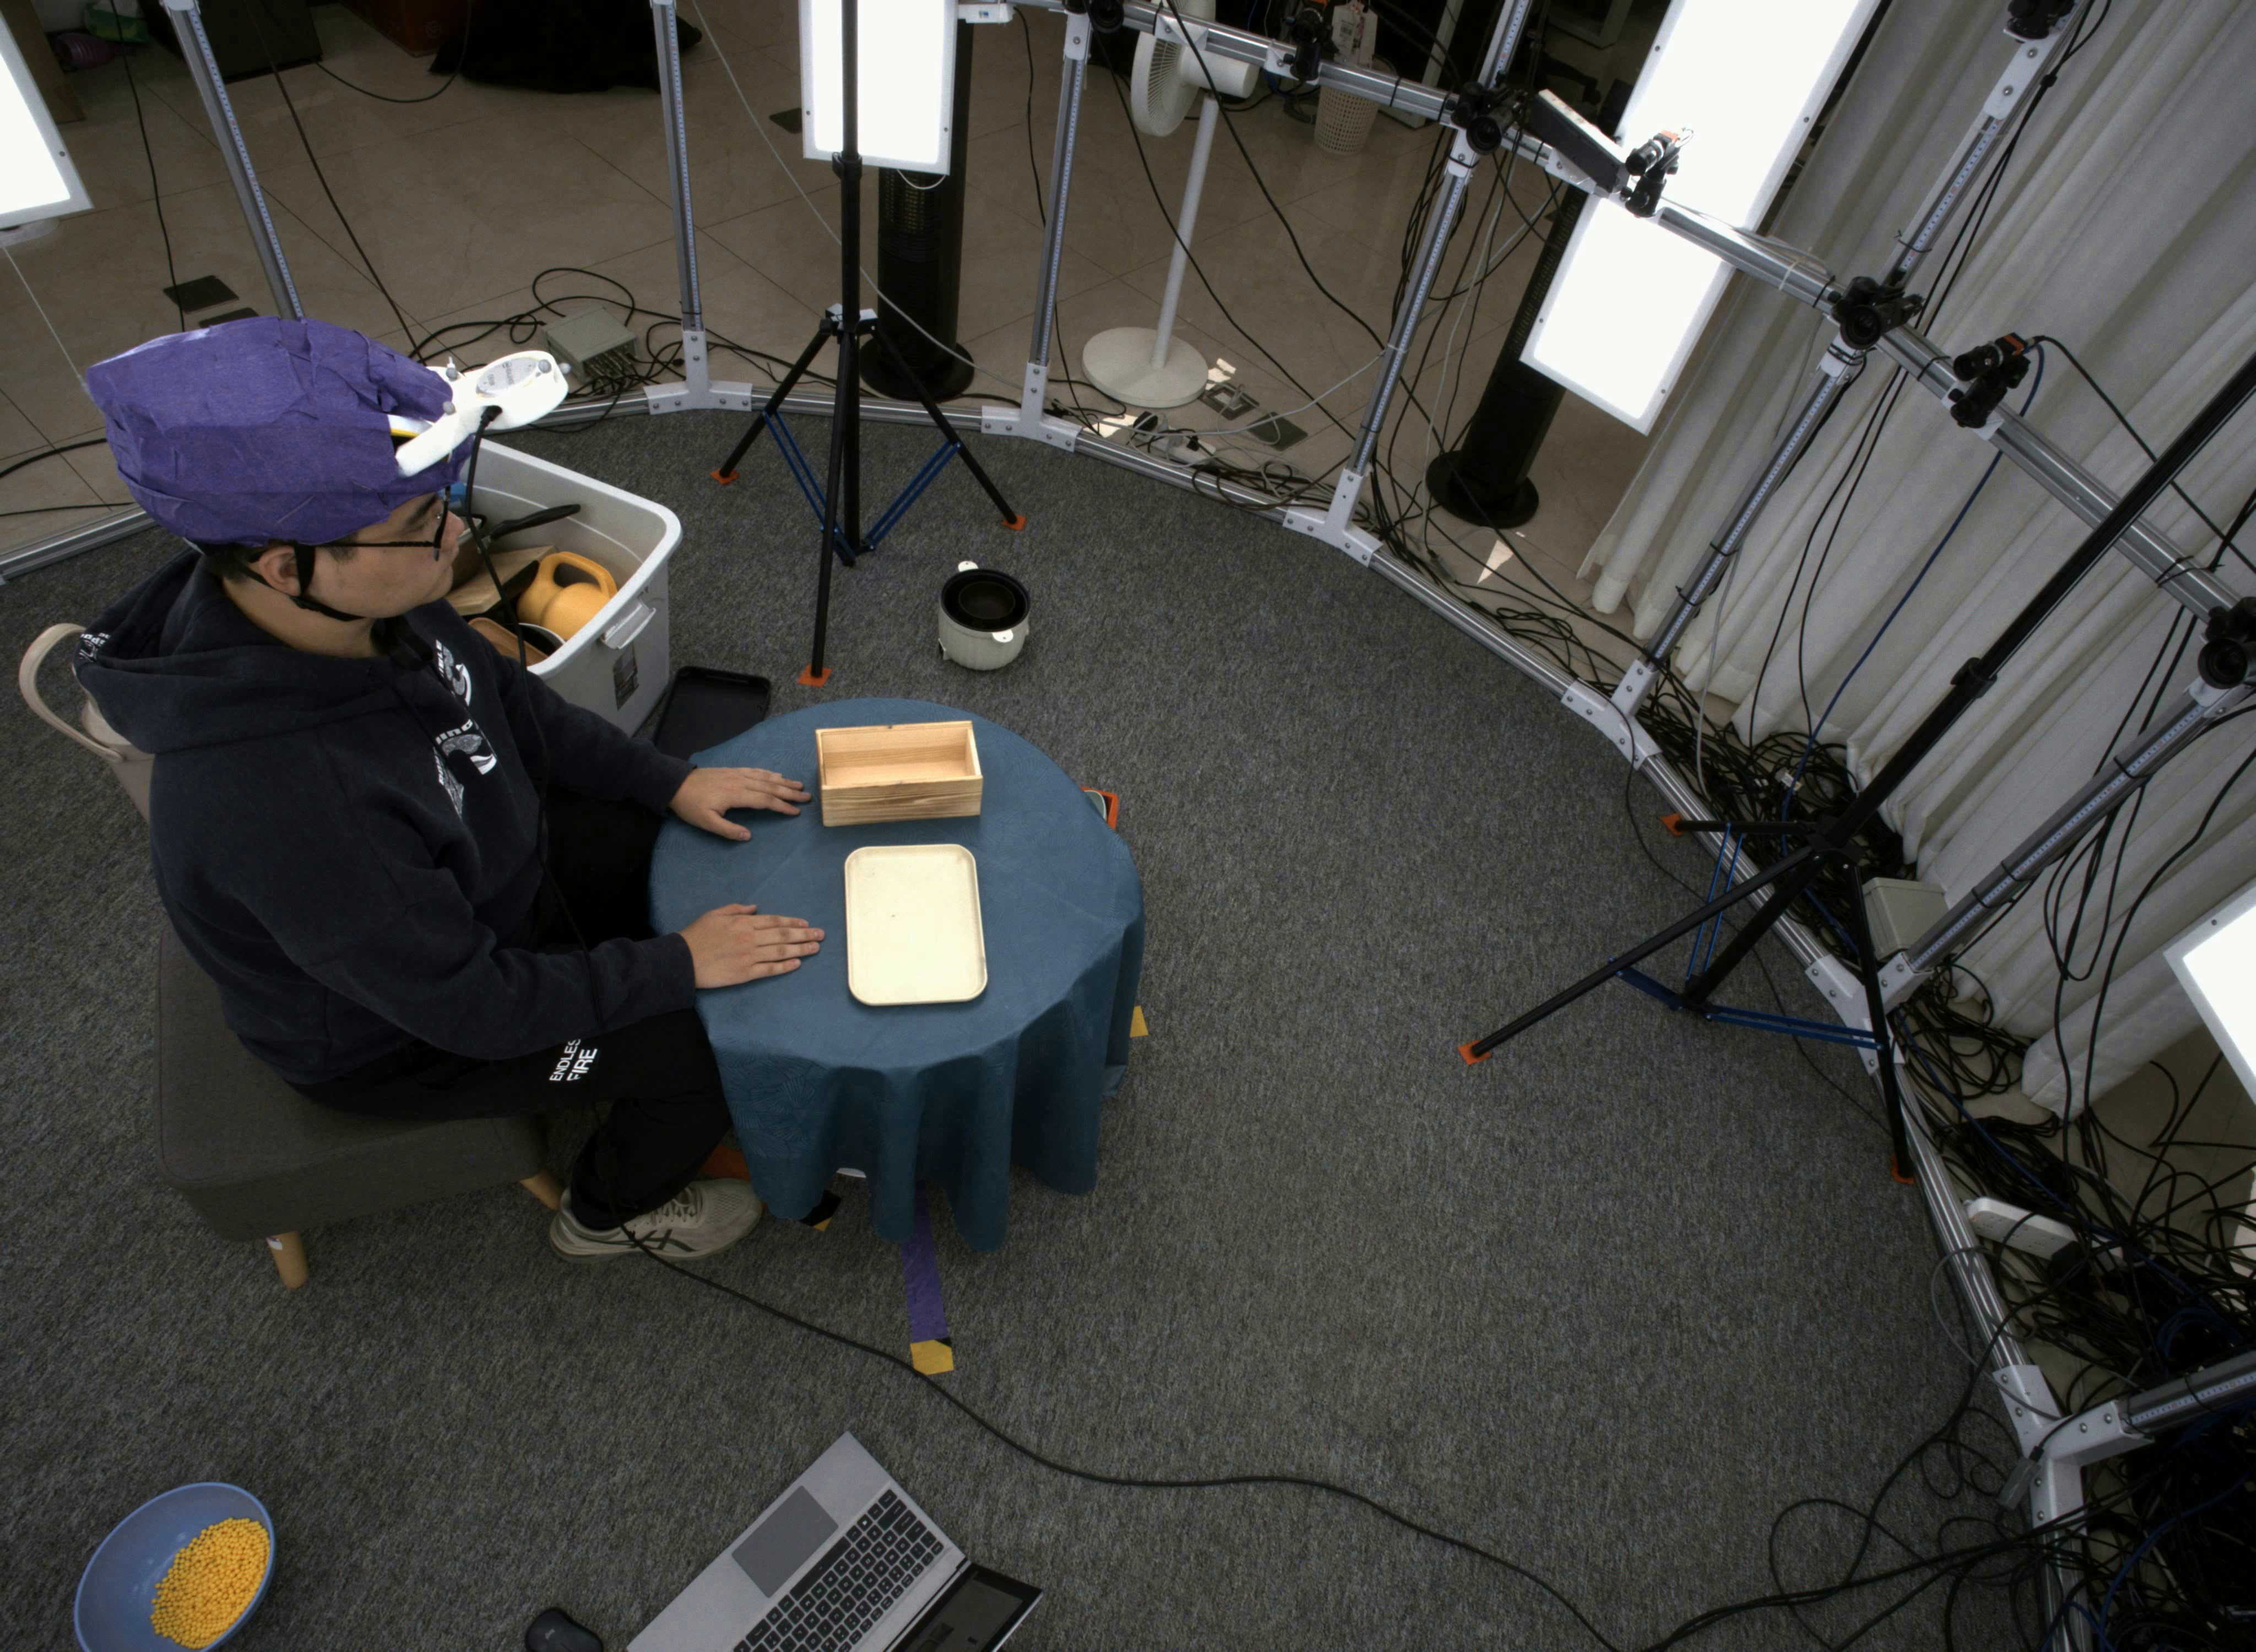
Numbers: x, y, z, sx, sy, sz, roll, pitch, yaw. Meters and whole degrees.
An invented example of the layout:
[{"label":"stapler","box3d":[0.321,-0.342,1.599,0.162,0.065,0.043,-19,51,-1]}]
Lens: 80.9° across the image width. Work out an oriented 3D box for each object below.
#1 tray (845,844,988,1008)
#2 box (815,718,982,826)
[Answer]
[{"label":"tray","box3d":[-0.271,0.123,1.655,0.171,0.018,0.234,-1,54,-14]},{"label":"box","box3d":[-0.310,-0.074,1.752,0.212,0.082,0.105,-5,54,-17]}]
